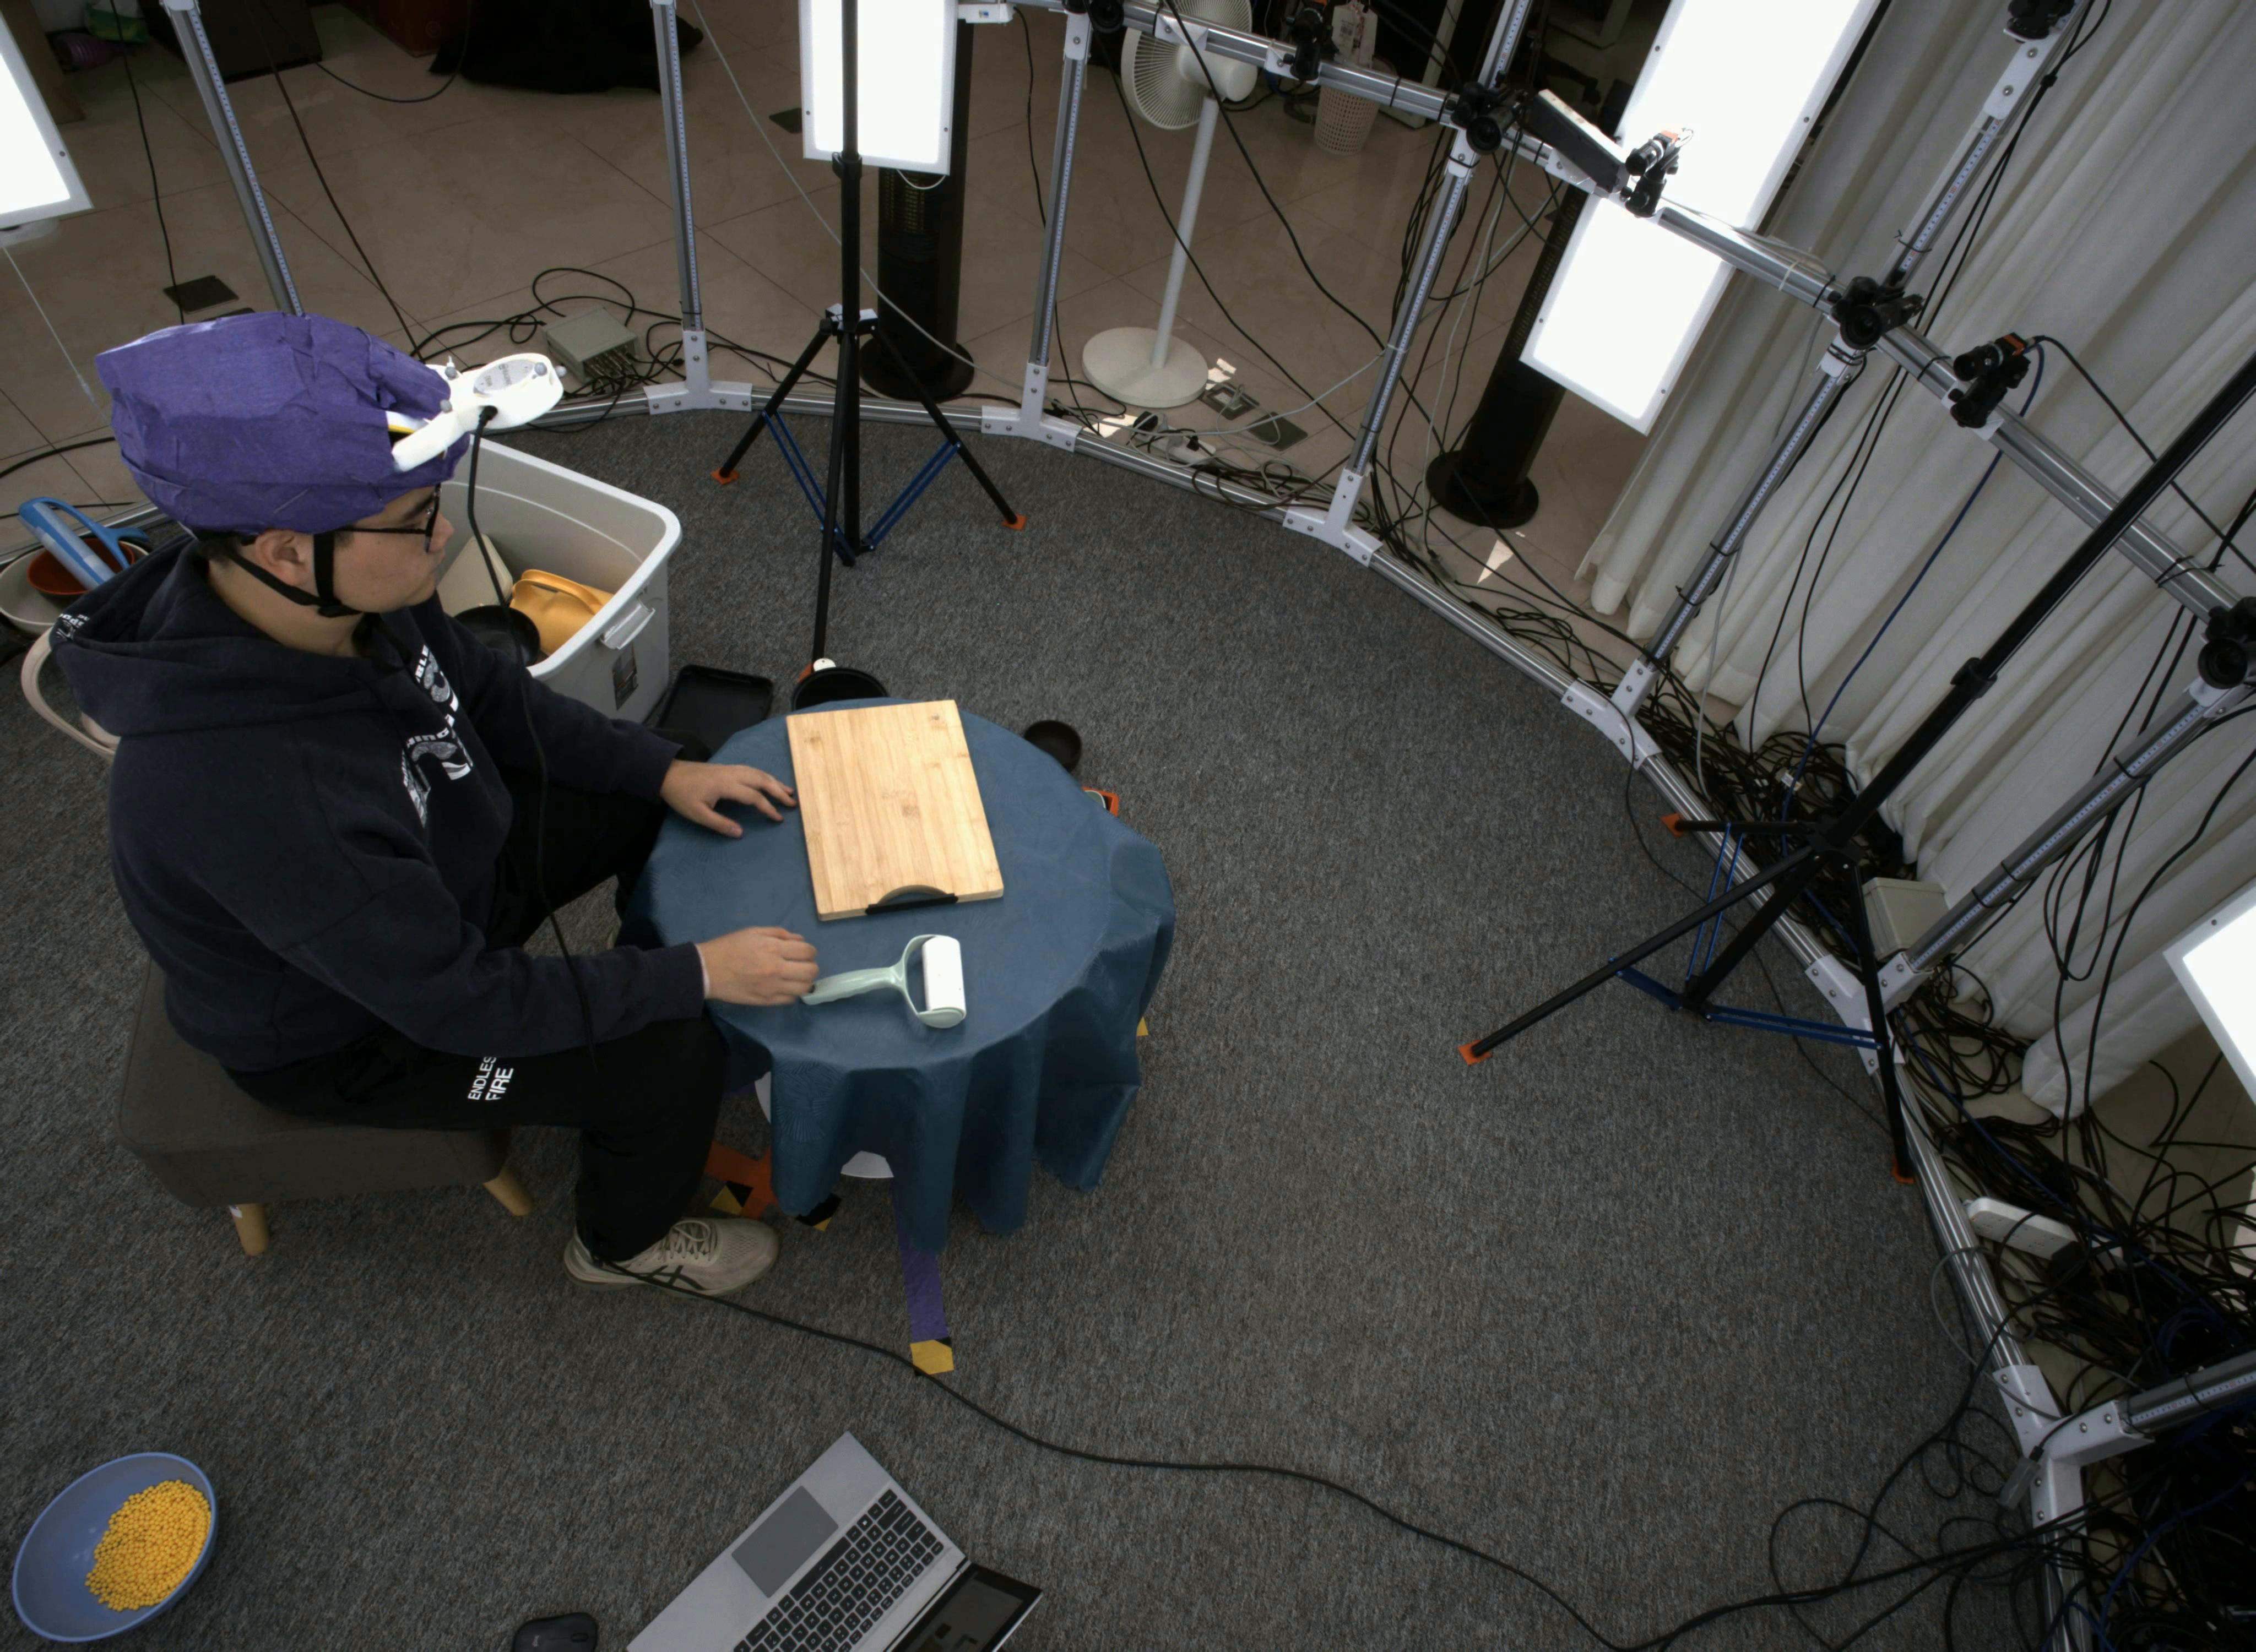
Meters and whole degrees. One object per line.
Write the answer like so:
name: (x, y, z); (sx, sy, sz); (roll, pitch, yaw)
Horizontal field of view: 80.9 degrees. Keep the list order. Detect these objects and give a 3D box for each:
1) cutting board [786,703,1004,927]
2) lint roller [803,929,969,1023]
cutting board: (-0.320, -0.027, 1.756); (0.251, 0.024, 0.340); (-8, 56, -19)
lint roller: (-0.297, 0.186, 1.585); (0.197, 0.049, 0.114); (-4, 57, -14)
